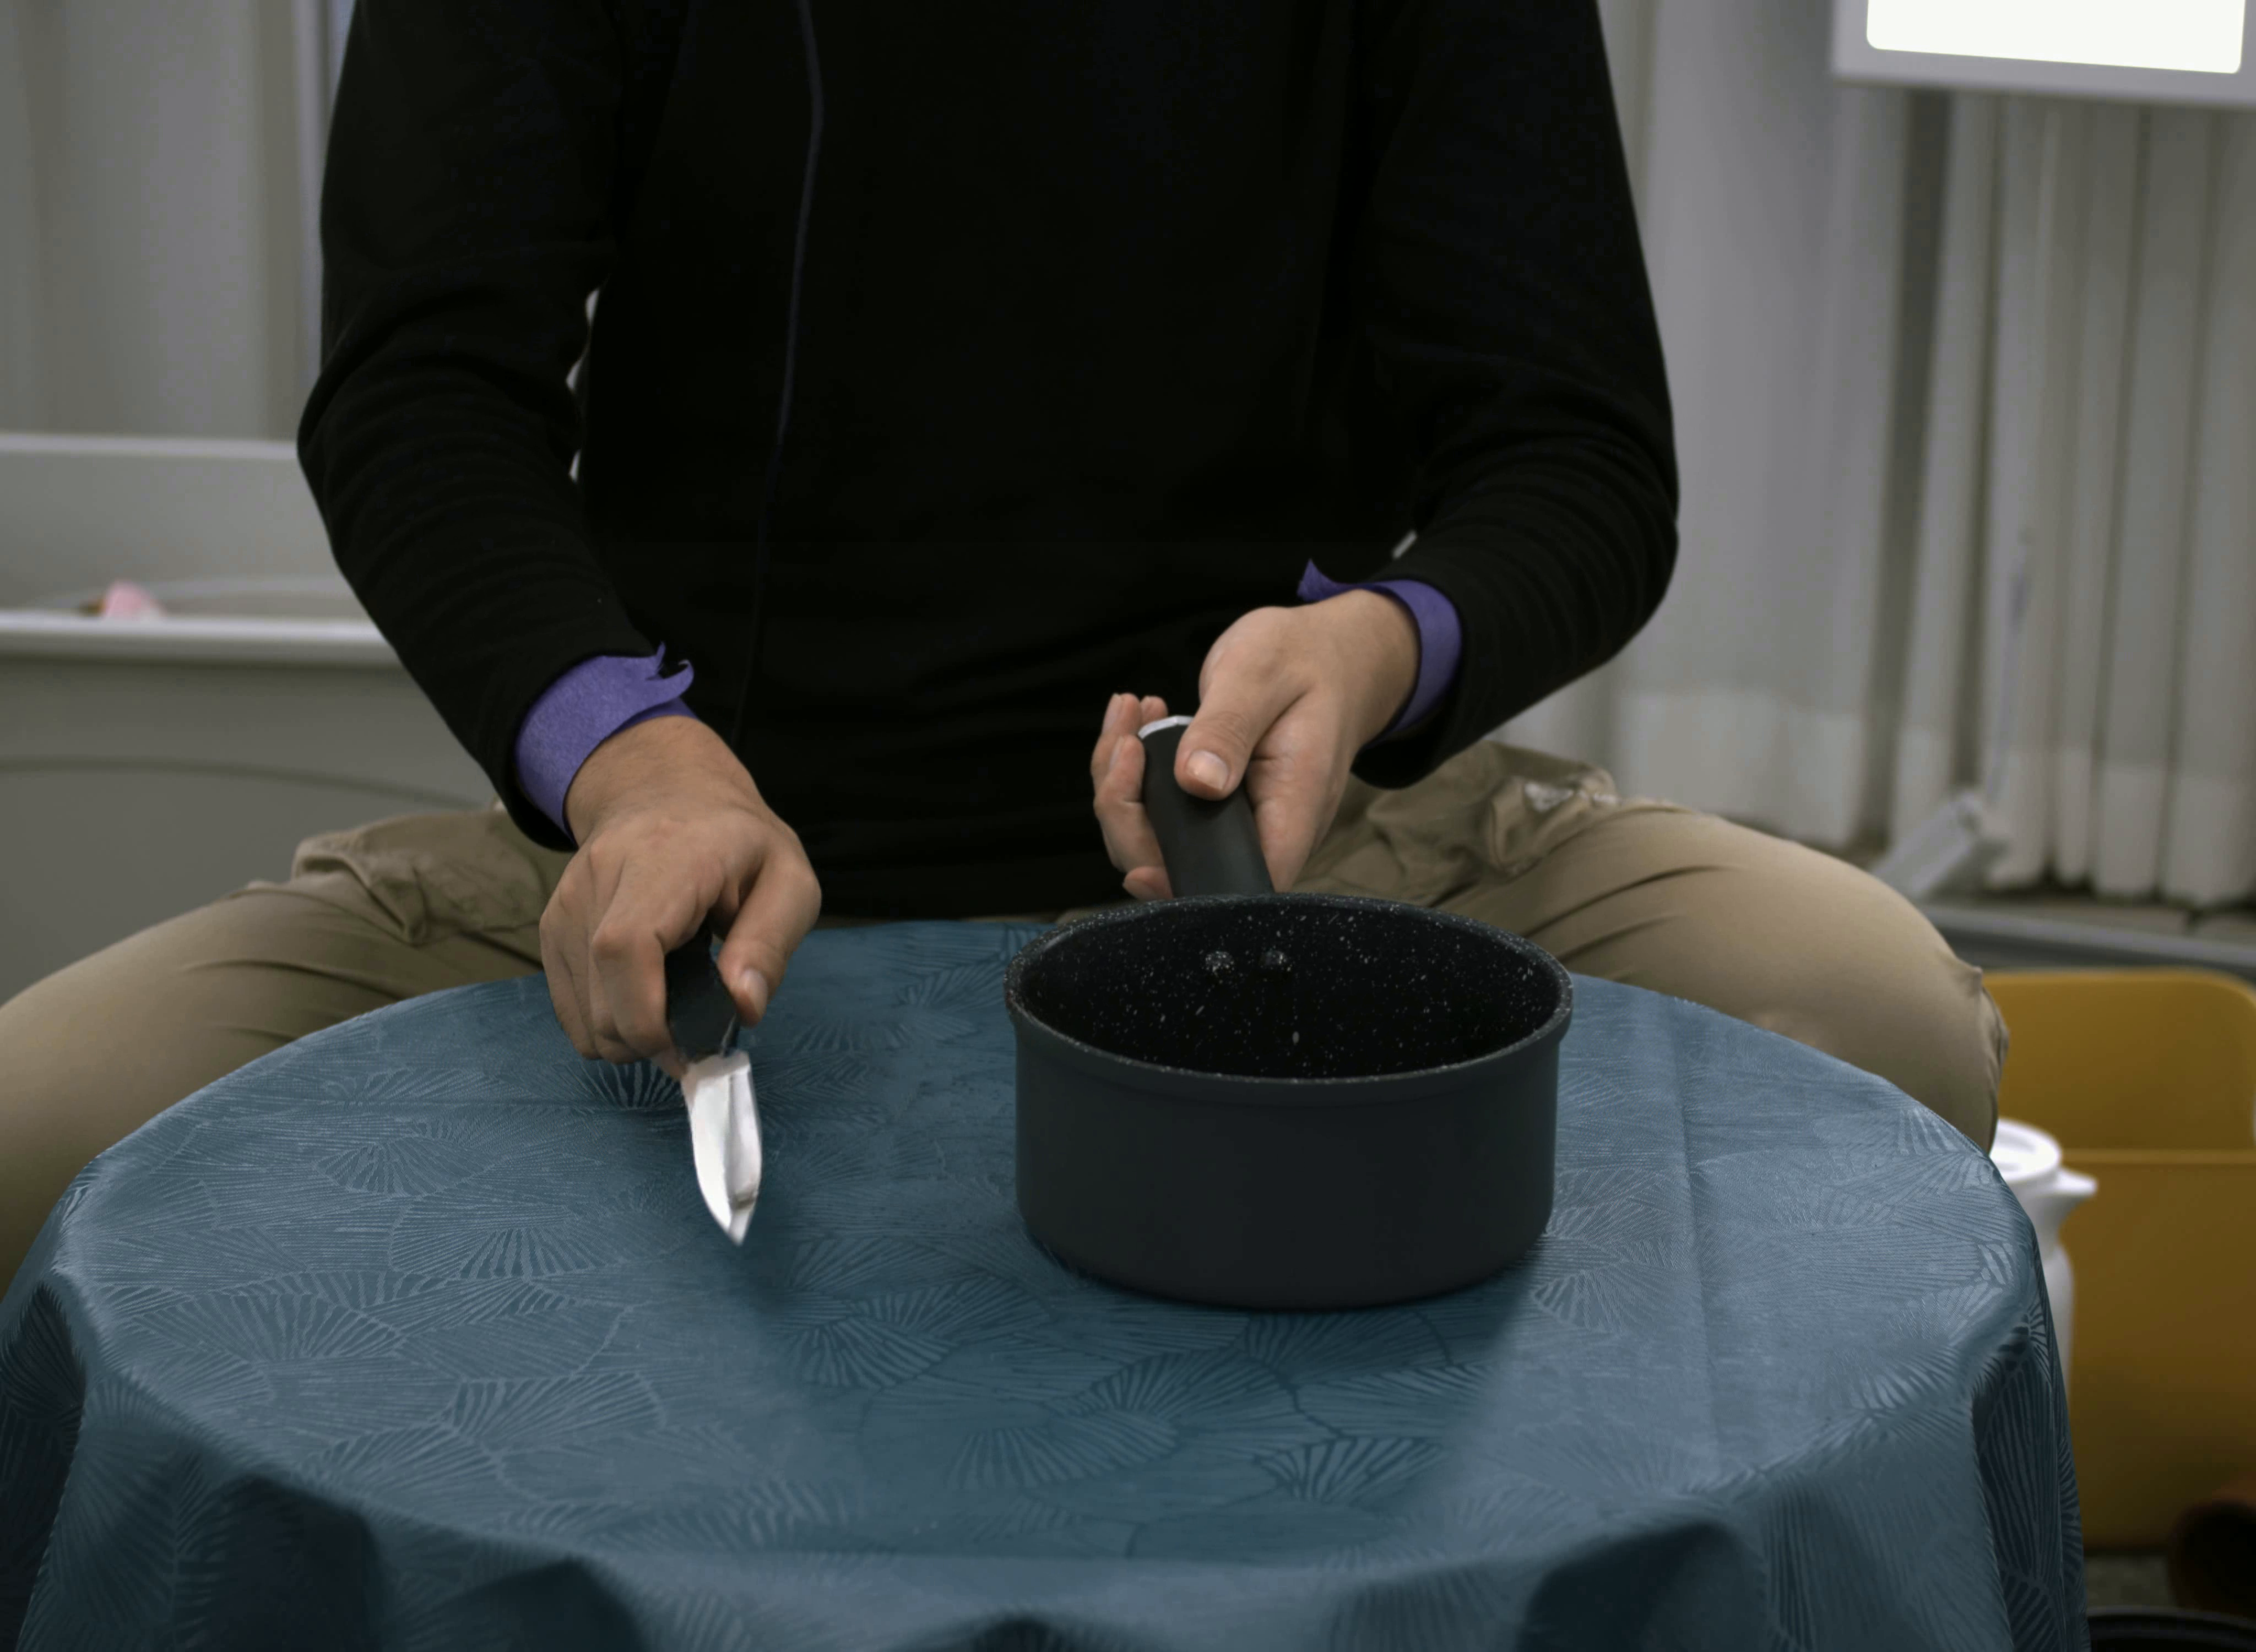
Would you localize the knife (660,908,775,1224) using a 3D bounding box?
[{"bbox_3d":[-0.126,0.073,1.603,0.024,0.016,0.236,-18,22,-3],"label":"knife"}]

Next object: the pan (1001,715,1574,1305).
[{"bbox_3d":[0.042,0.054,1.656,0.172,0.087,0.326,0,19,-4],"label":"pan"}]
